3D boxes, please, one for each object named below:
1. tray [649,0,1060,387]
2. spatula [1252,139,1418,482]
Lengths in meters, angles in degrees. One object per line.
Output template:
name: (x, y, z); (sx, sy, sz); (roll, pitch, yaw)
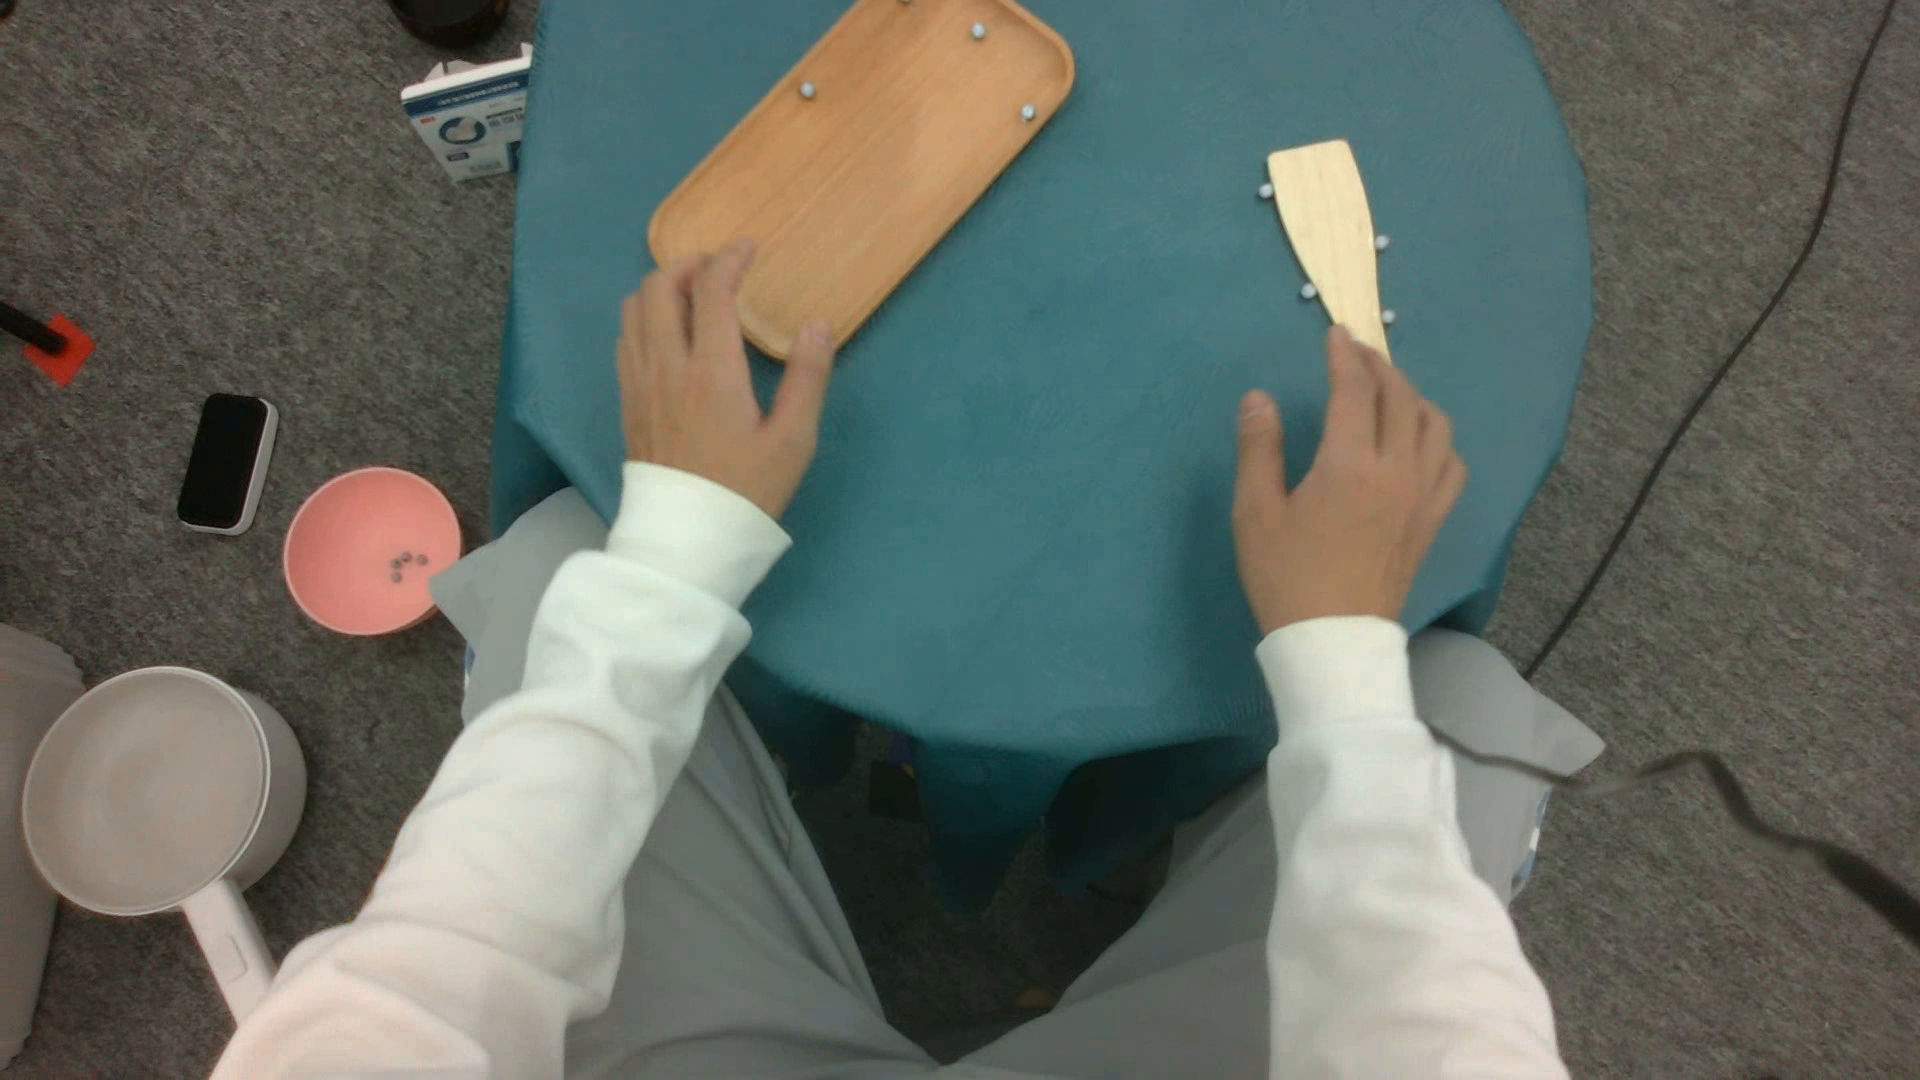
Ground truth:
tray: (-0.057, -0.205, 0.782); (0.130, 0.023, 0.251); (36, 79, 12)
spatula: (0.214, -0.130, 0.768); (0.050, 0.005, 0.208); (-13, 75, -3)
